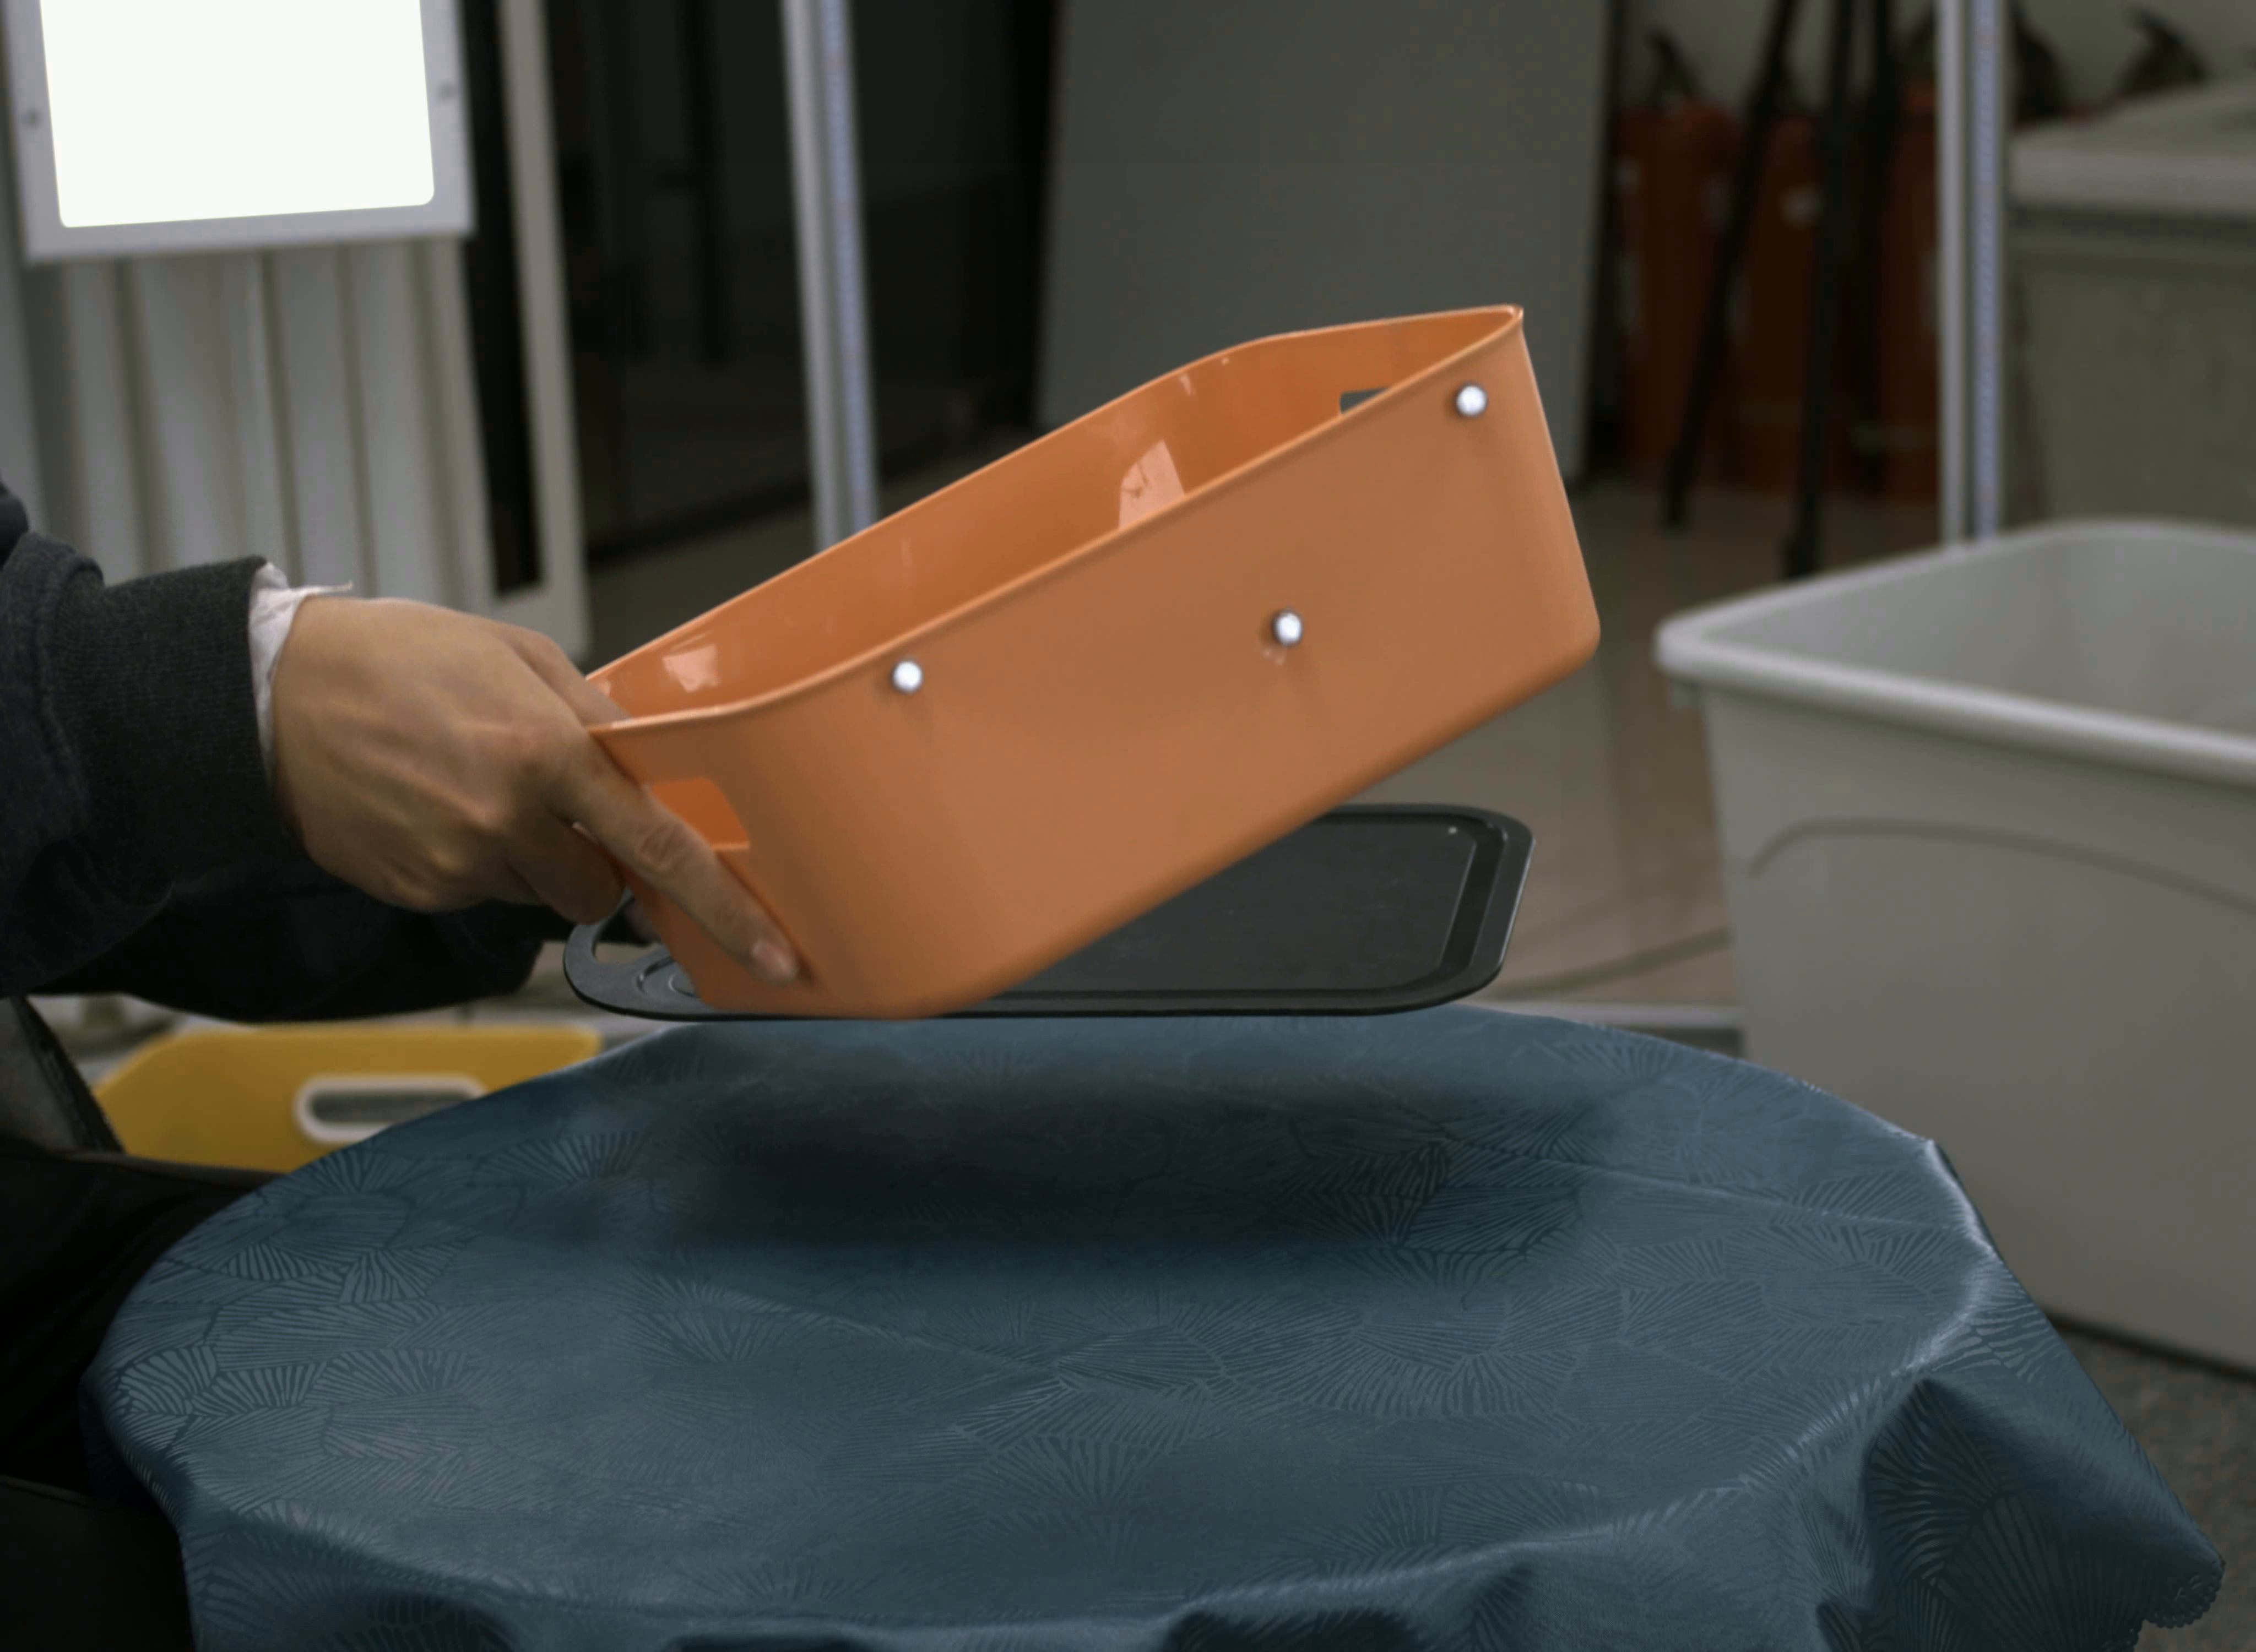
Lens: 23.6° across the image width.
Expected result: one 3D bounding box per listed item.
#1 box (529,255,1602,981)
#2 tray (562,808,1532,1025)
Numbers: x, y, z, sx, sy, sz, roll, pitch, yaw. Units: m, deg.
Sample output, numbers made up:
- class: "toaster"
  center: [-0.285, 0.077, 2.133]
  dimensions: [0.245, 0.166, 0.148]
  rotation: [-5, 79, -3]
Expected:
- class: "box"
  center: [-0.012, -0.054, 1.494]
  dimensions: [0.269, 0.103, 0.201]
  rotation: [-28, 13, -25]
- class: "tray"
  center: [-0.029, 0.028, 1.810]
  dimensions: [0.323, 0.010, 0.210]
  rotation: [-1, 17, 11]
